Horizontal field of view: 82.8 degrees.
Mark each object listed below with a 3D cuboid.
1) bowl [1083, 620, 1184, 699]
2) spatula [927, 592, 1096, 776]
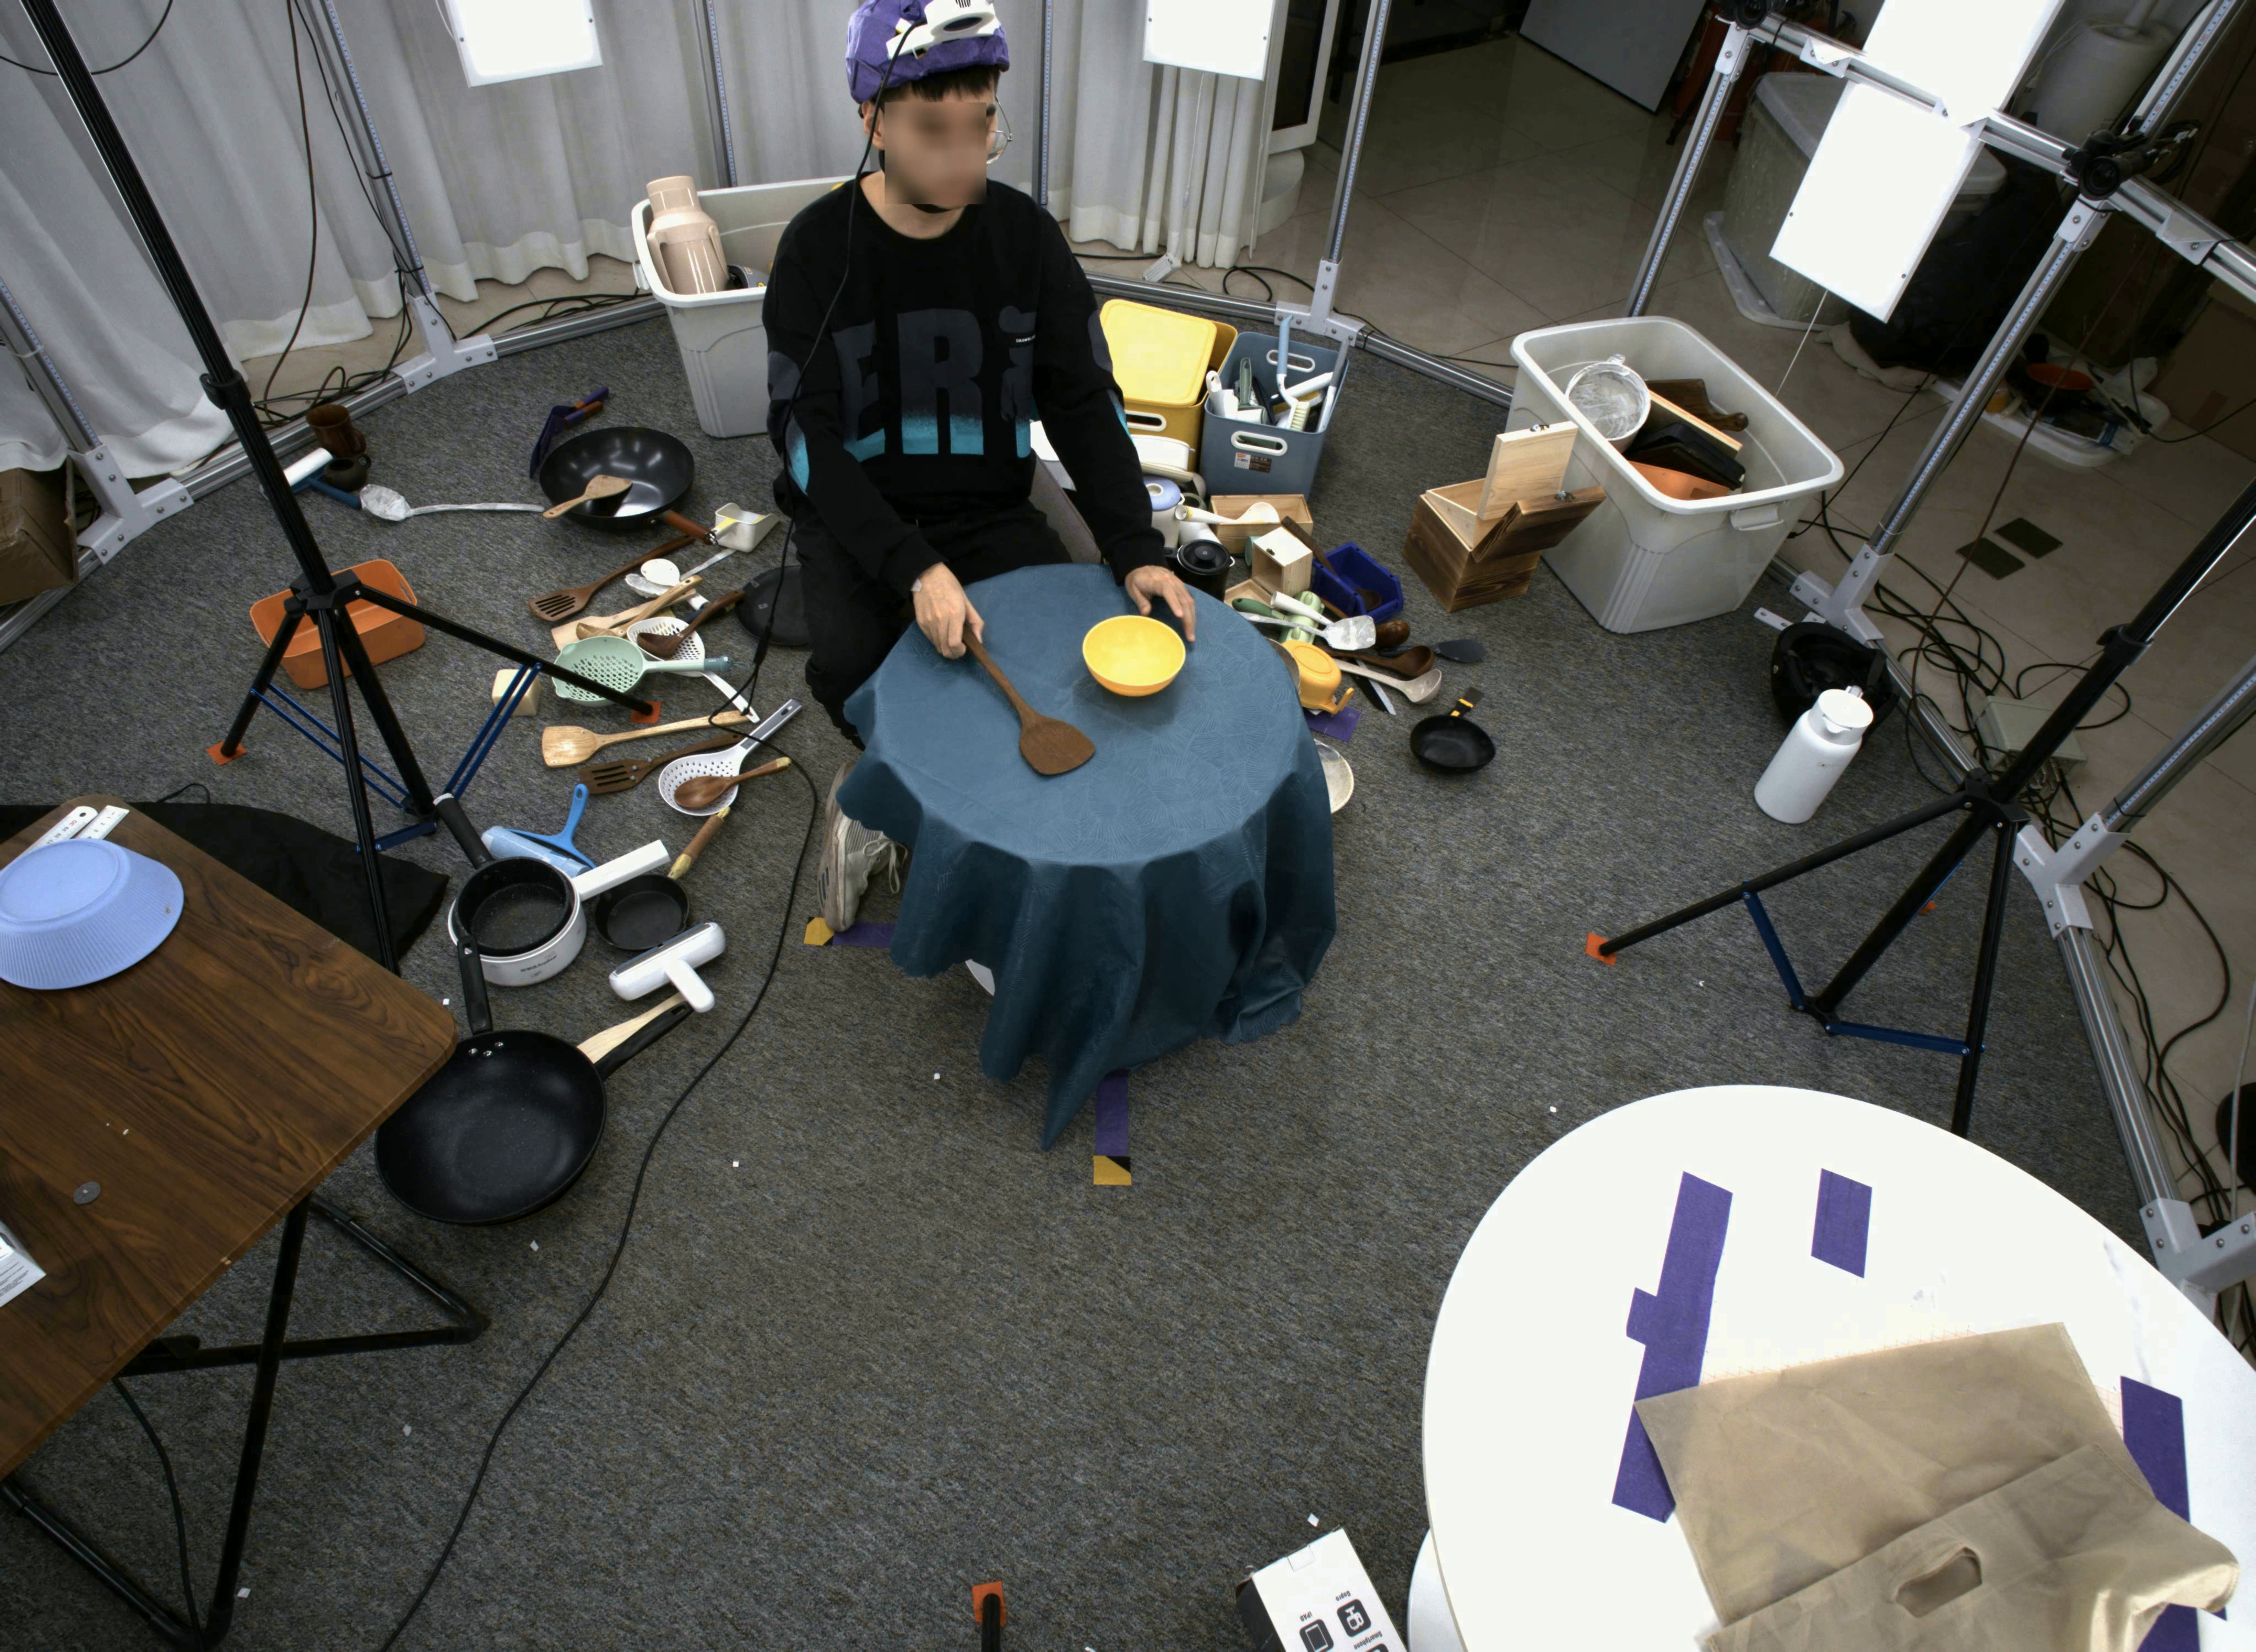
[{"bbox_3d":[0.006,-0.228,1.848,0.145,0.058,0.149,3,47,-4],"label":"bowl"},{"bbox_3d":[-0.183,-0.212,1.832,0.096,0.015,0.393,-26,61,-25],"label":"spatula"}]
